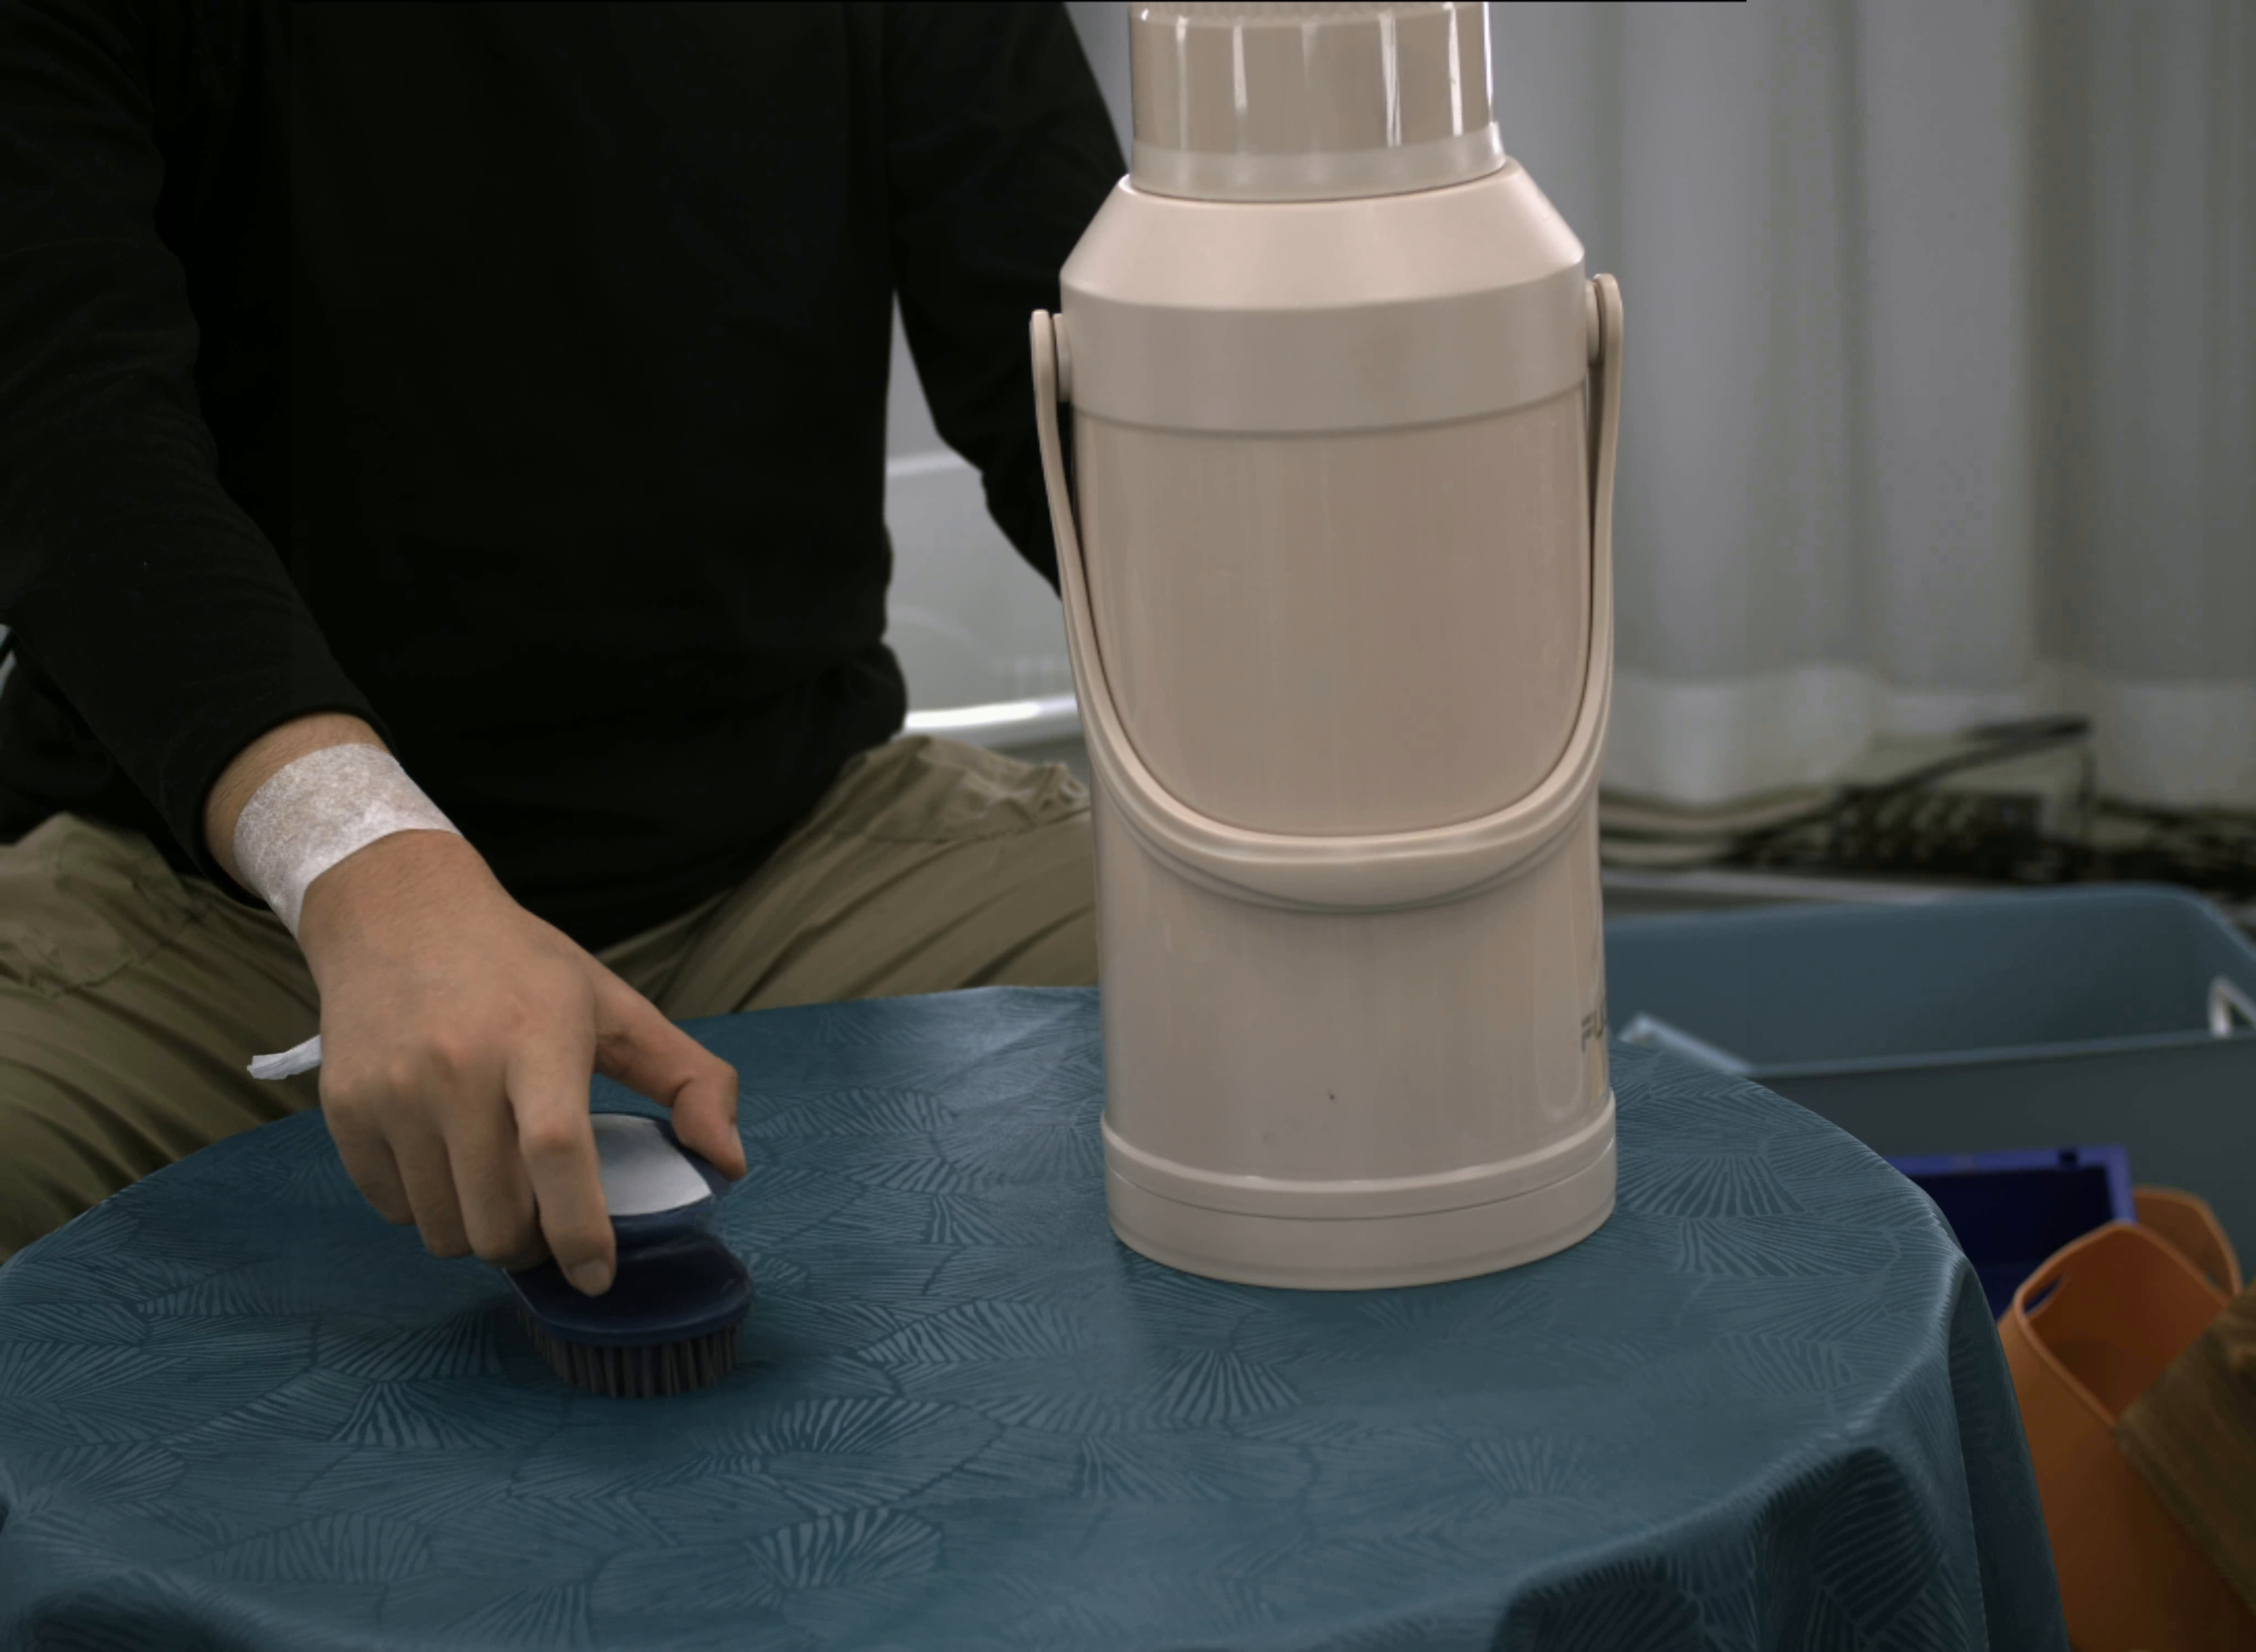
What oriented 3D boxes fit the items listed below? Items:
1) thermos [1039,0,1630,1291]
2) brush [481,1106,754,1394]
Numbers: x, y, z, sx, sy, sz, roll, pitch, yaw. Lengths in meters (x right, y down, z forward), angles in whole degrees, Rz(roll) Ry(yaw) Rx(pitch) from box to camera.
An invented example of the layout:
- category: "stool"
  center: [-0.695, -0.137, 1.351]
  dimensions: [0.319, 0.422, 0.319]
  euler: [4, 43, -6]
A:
- category: "thermos"
  center: [0.065, -0.078, 1.659]
  dimensions: [0.174, 0.405, 0.208]
  euler: [-5, 14, -4]
- category: "brush"
  center: [-0.150, 0.125, 1.599]
  dimensions: [0.067, 0.061, 0.122]
  euler: [-4, 14, -17]
